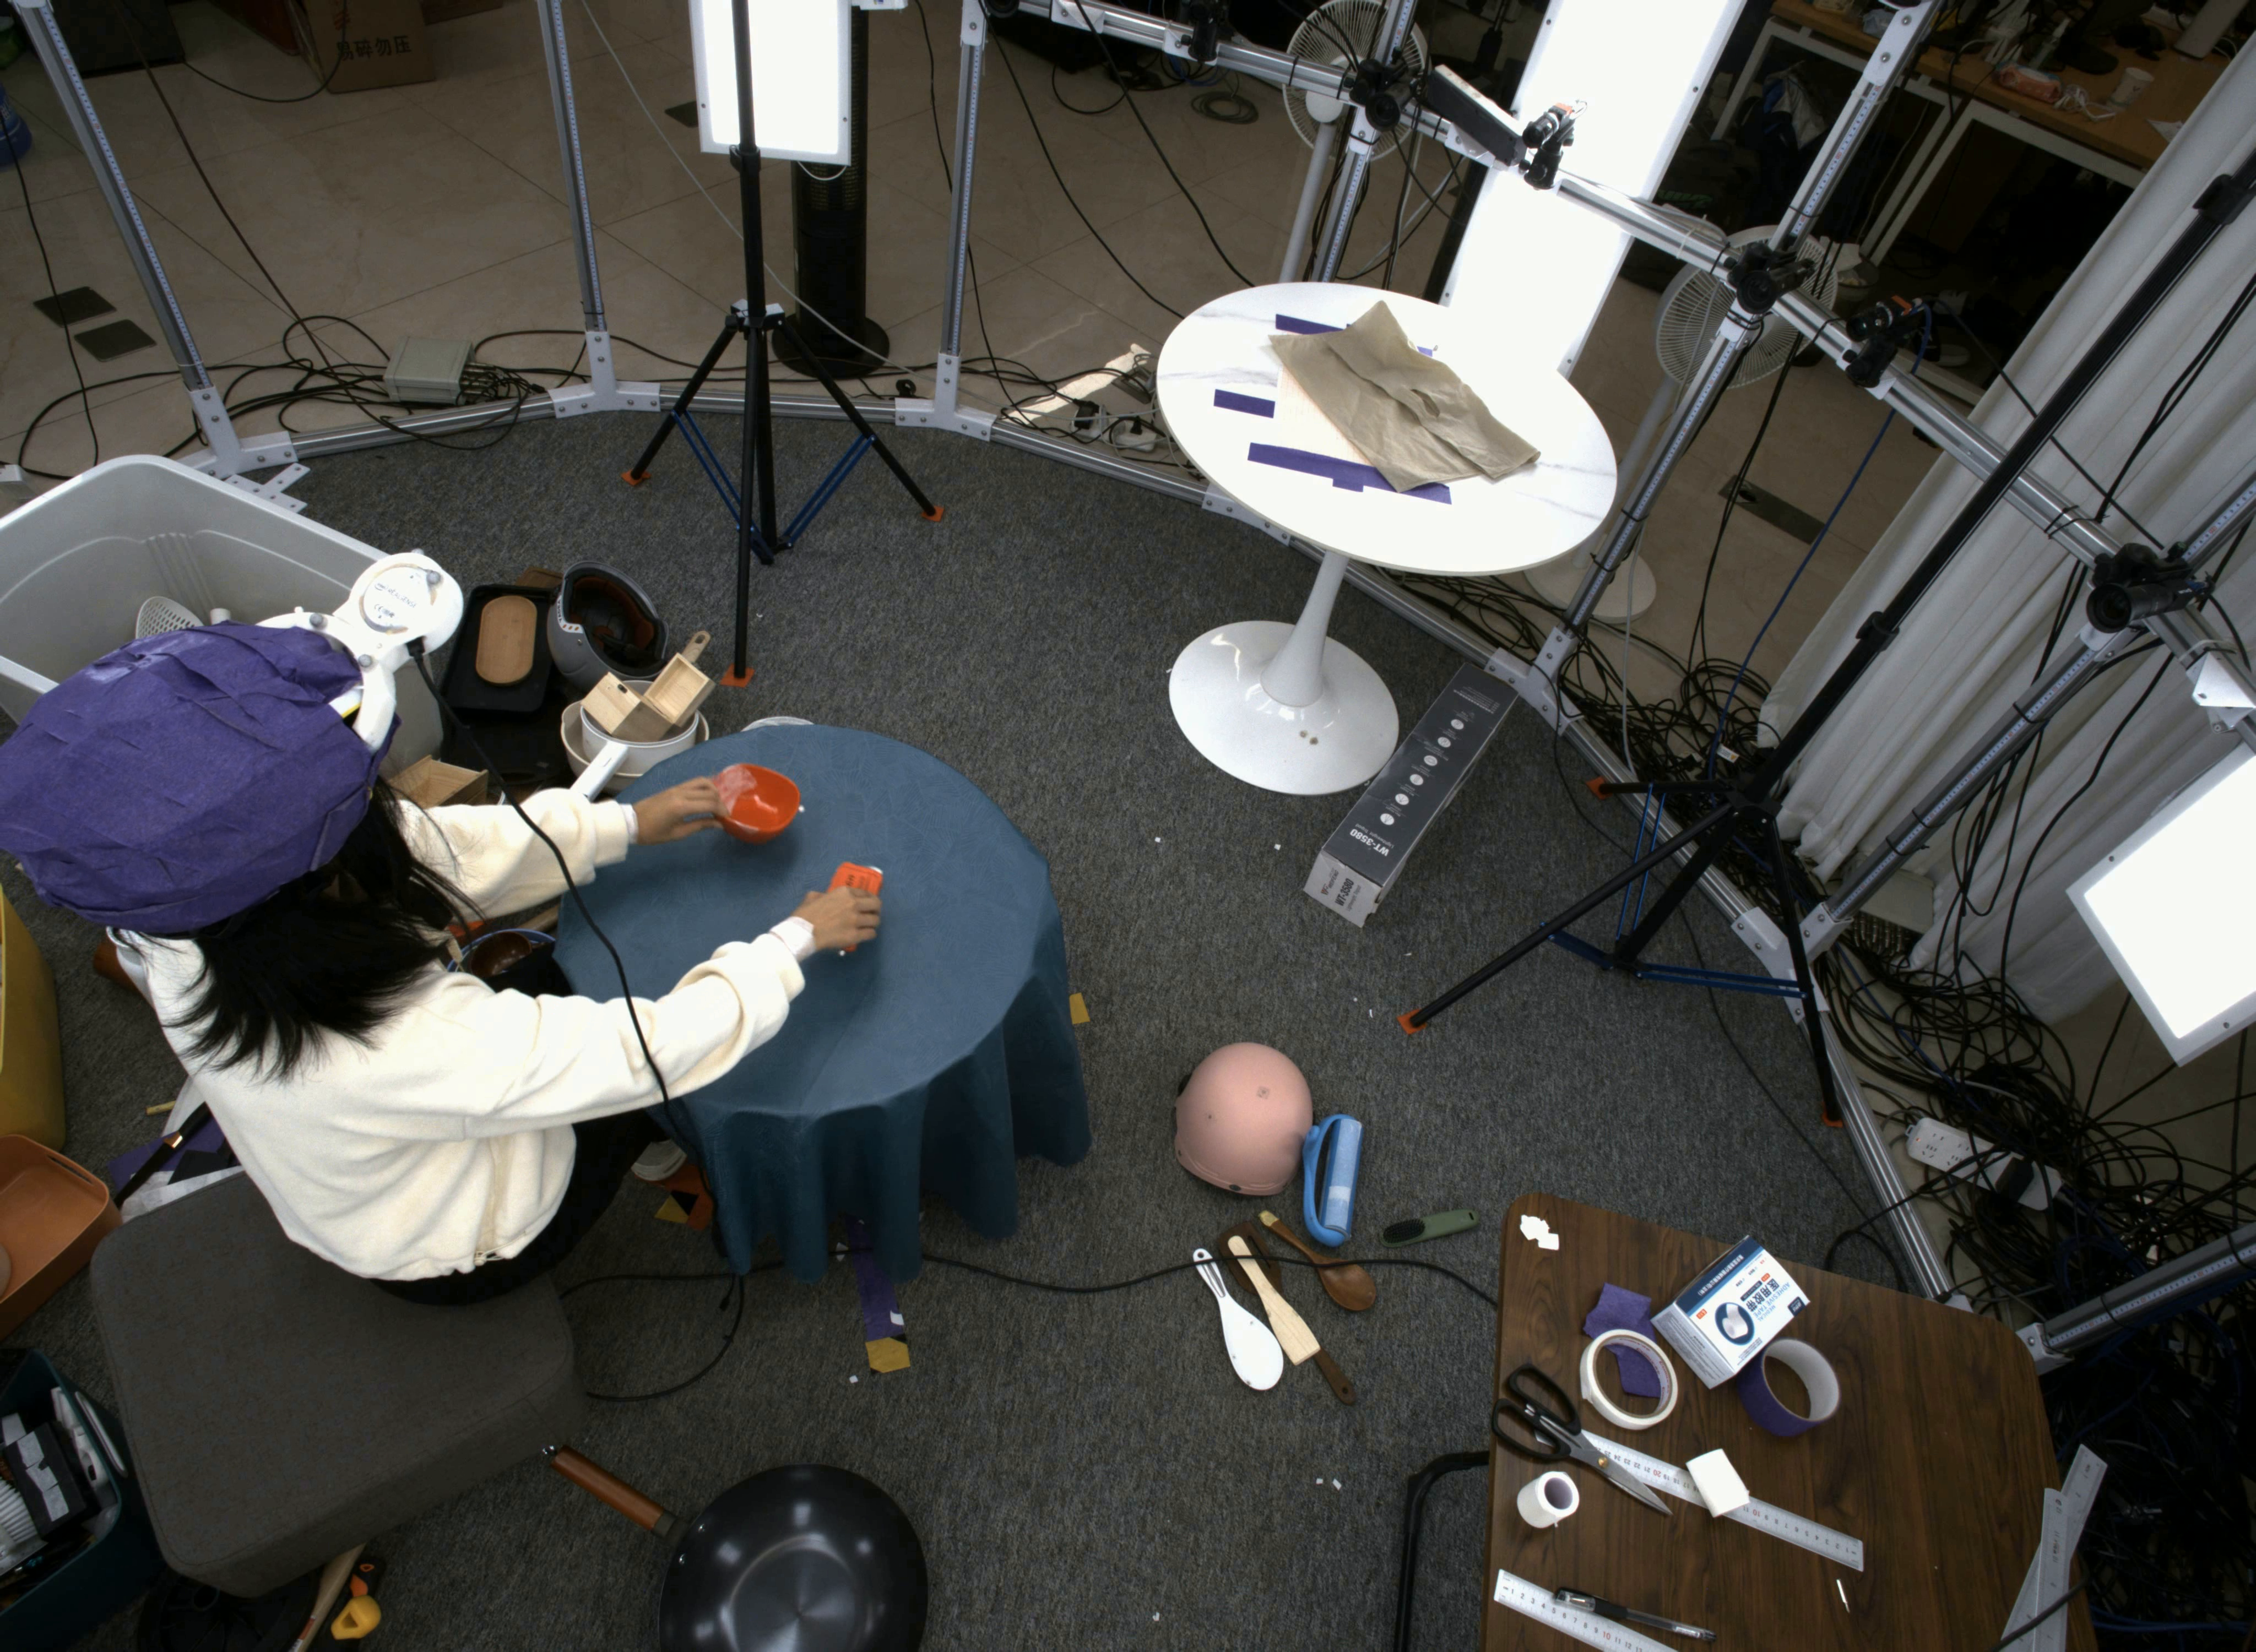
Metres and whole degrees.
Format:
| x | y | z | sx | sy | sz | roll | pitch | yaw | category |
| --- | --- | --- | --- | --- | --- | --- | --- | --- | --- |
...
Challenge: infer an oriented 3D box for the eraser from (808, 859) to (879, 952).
| x | y | z | sx | sy | sz | roll | pitch | yaw | category |
| --- | --- | --- | --- | --- | --- | --- | --- | --- | --- |
| -0.349 | 0.095 | 1.591 | 0.059 | 0.023 | 0.107 | 18 | 62 | -4 | eraser |

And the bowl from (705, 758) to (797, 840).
| x | y | z | sx | sy | sz | roll | pitch | yaw | category |
| --- | --- | --- | --- | --- | --- | --- | --- | --- | --- |
| -0.483 | -0.028 | 1.648 | 0.120 | 0.052 | 0.116 | 16 | 45 | -15 | bowl |
